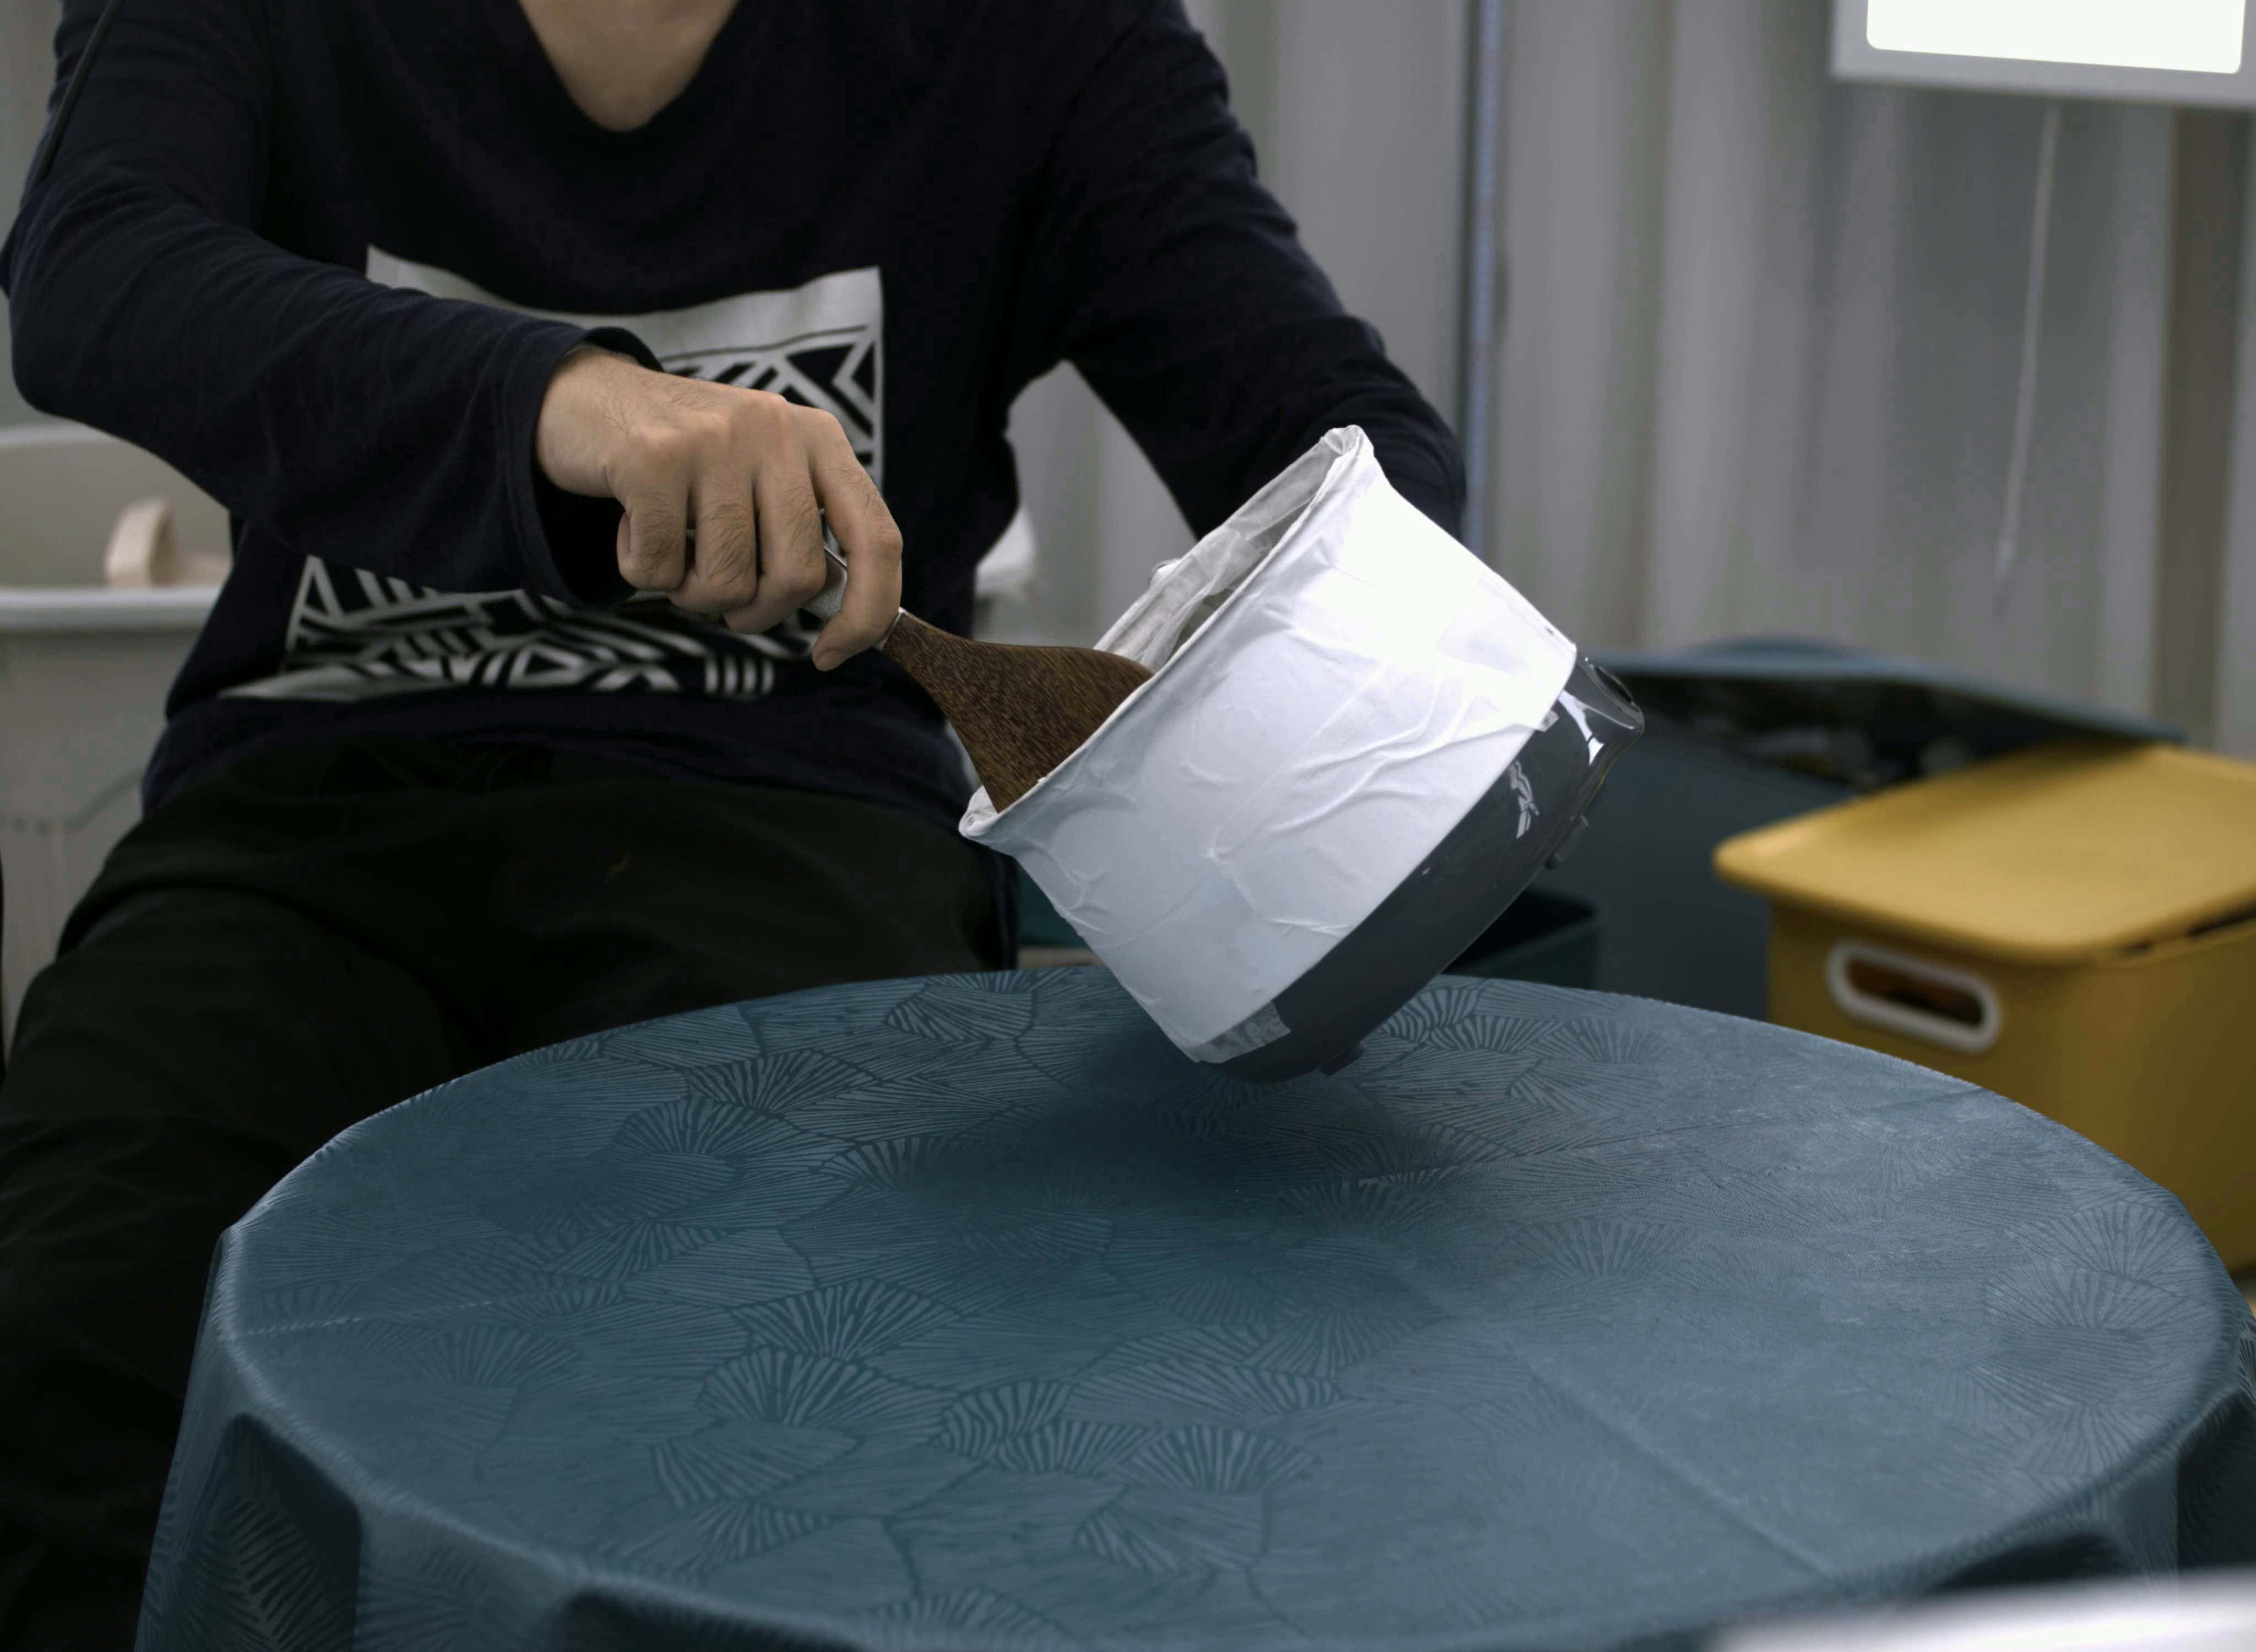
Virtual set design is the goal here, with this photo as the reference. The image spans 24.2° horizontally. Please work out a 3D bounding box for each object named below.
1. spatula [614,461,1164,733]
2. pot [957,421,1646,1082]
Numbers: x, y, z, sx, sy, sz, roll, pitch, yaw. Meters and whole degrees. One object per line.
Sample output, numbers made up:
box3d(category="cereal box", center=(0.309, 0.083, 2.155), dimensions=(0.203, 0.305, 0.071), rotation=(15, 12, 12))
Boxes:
box3d(category="spatula", center=(-0.068, -0.068, 1.653), dimensions=(0.214, 0.072, 0.009), rotation=(23, 54, 12))
box3d(category="pot", center=(0.054, -0.024, 1.669), dimensions=(0.178, 0.137, 0.232), rotation=(-43, 9, 8))
